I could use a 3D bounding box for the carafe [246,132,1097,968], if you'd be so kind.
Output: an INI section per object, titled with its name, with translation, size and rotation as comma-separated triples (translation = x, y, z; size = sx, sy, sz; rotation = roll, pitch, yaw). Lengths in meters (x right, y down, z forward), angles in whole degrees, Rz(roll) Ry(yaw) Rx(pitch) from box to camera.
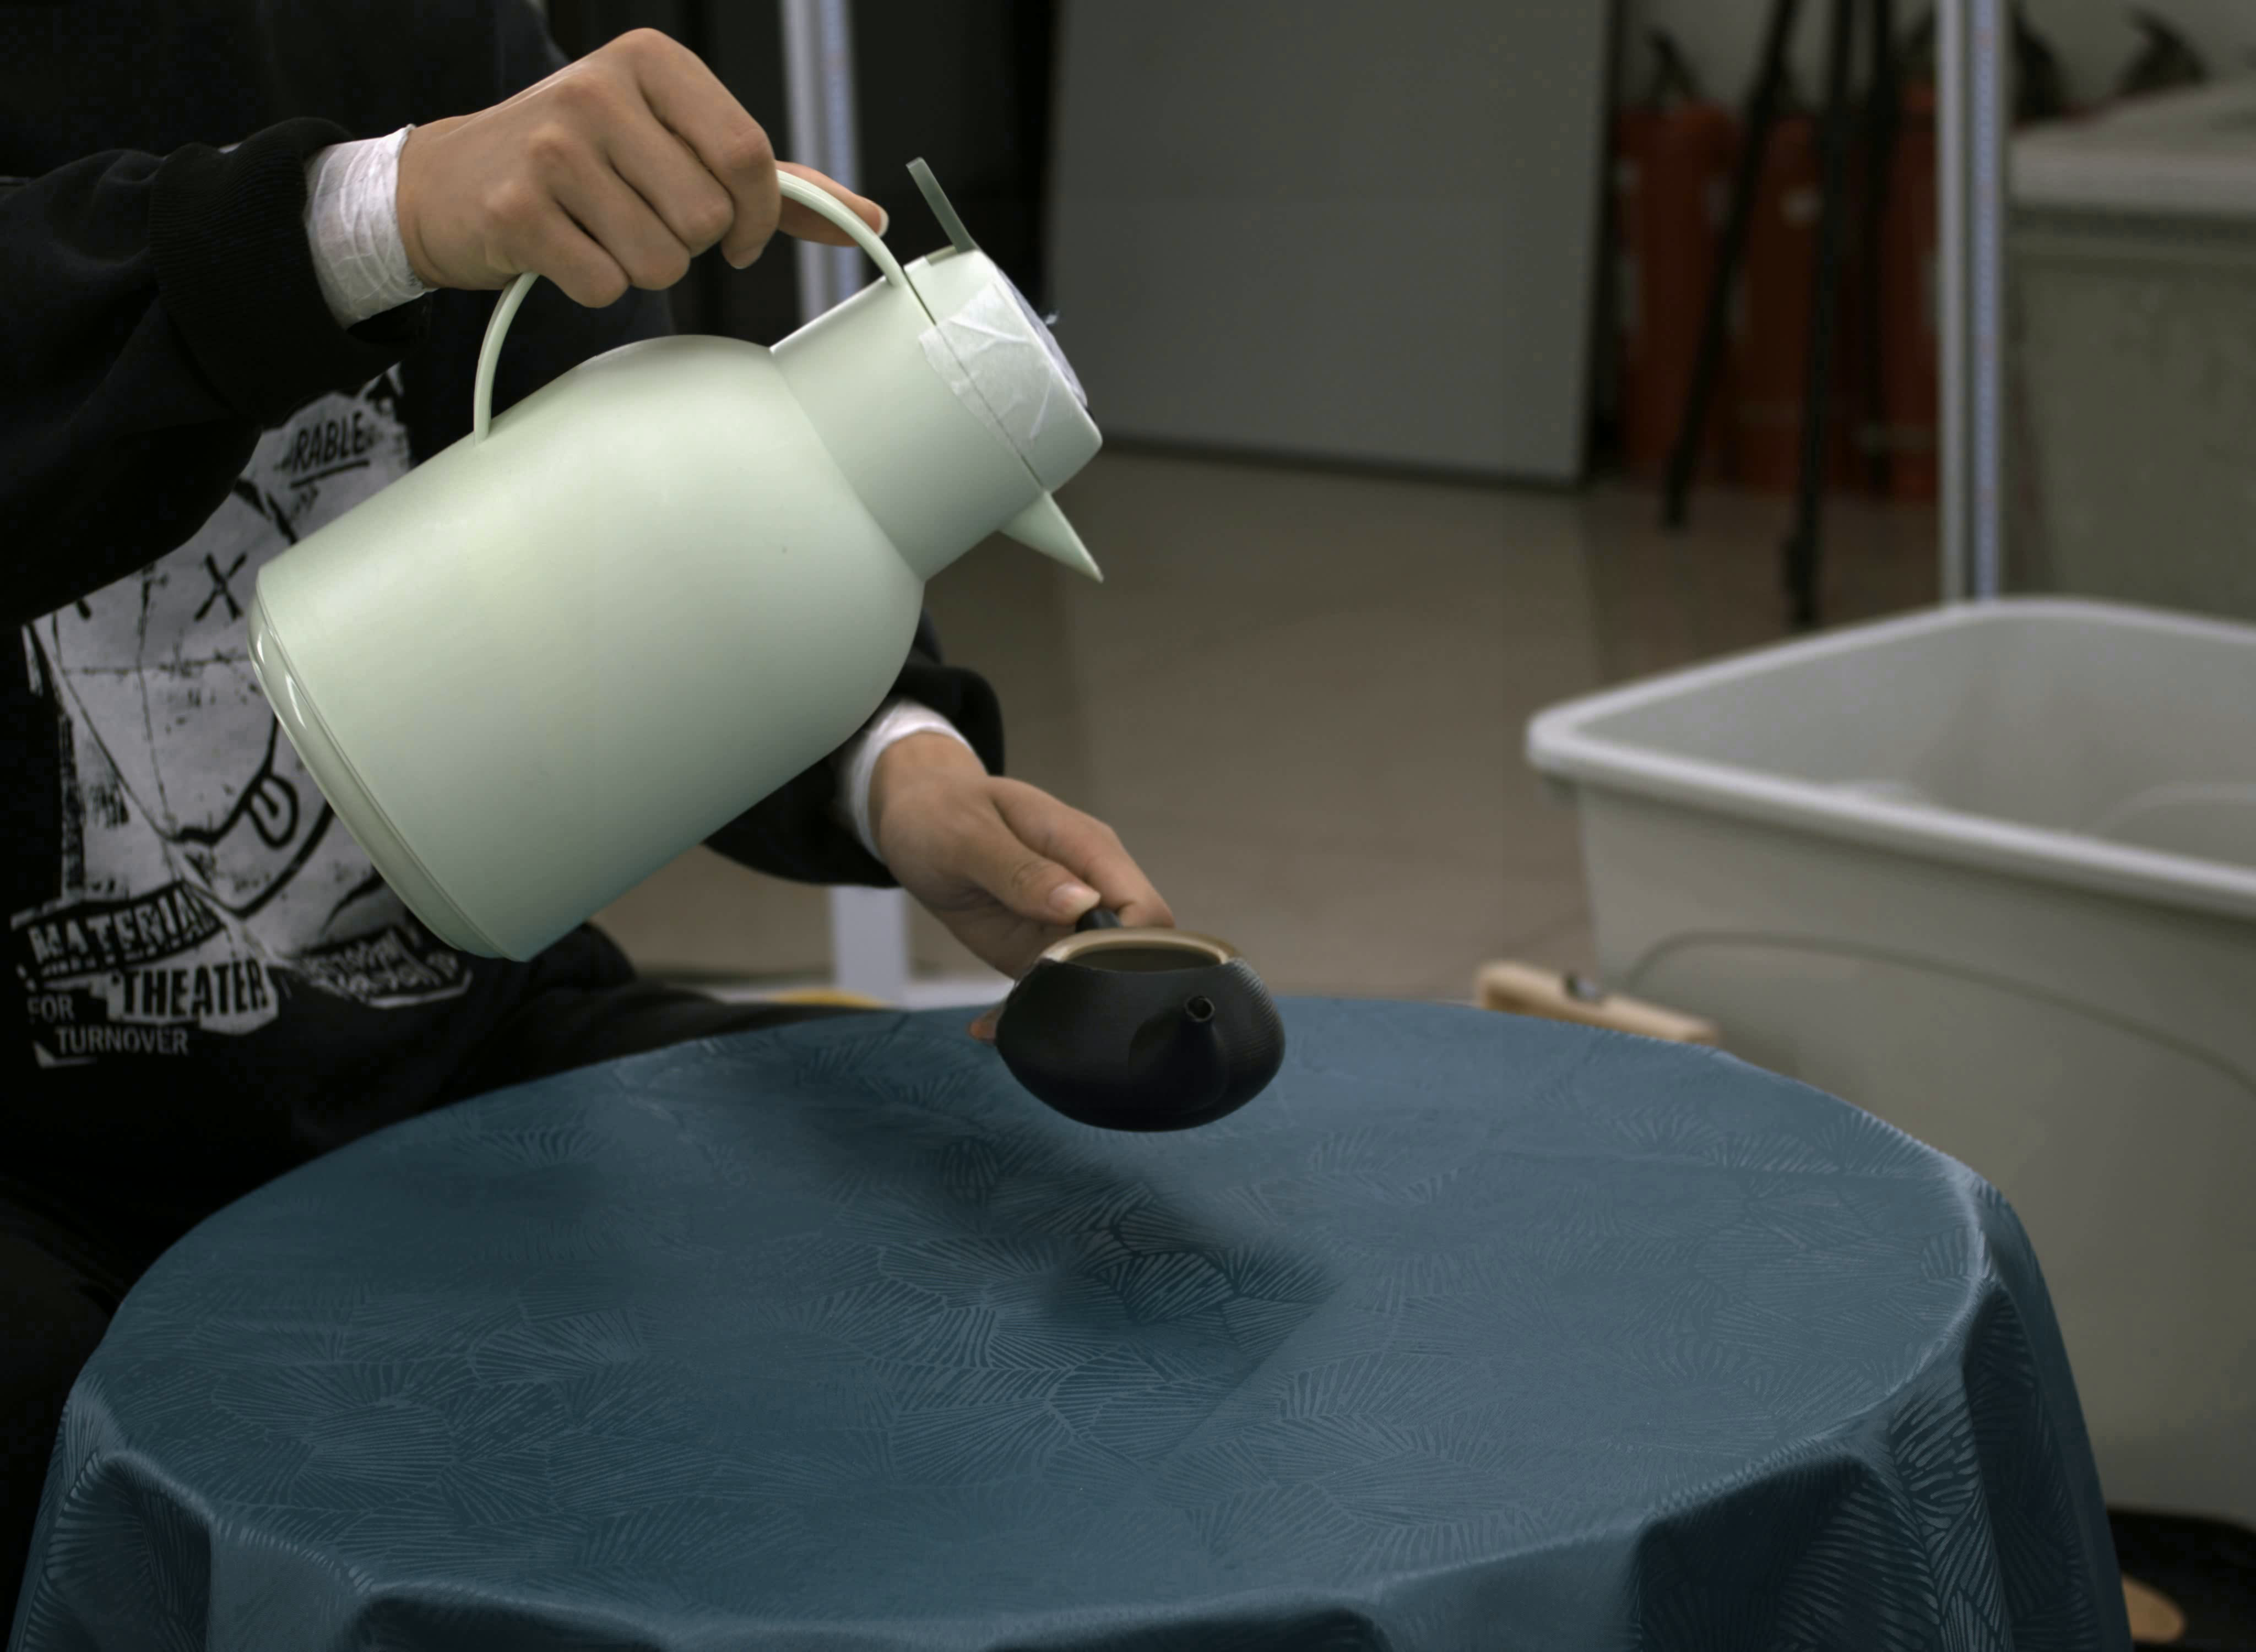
[carafe]
translation = -0.140, -0.093, 1.637
size = 0.256, 0.186, 0.145
rotation = -38, 13, 5

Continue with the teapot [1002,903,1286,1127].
[teapot]
translation = 0.005, 0.062, 1.701
size = 0.089, 0.053, 0.134
rotation = -2, 14, -15
